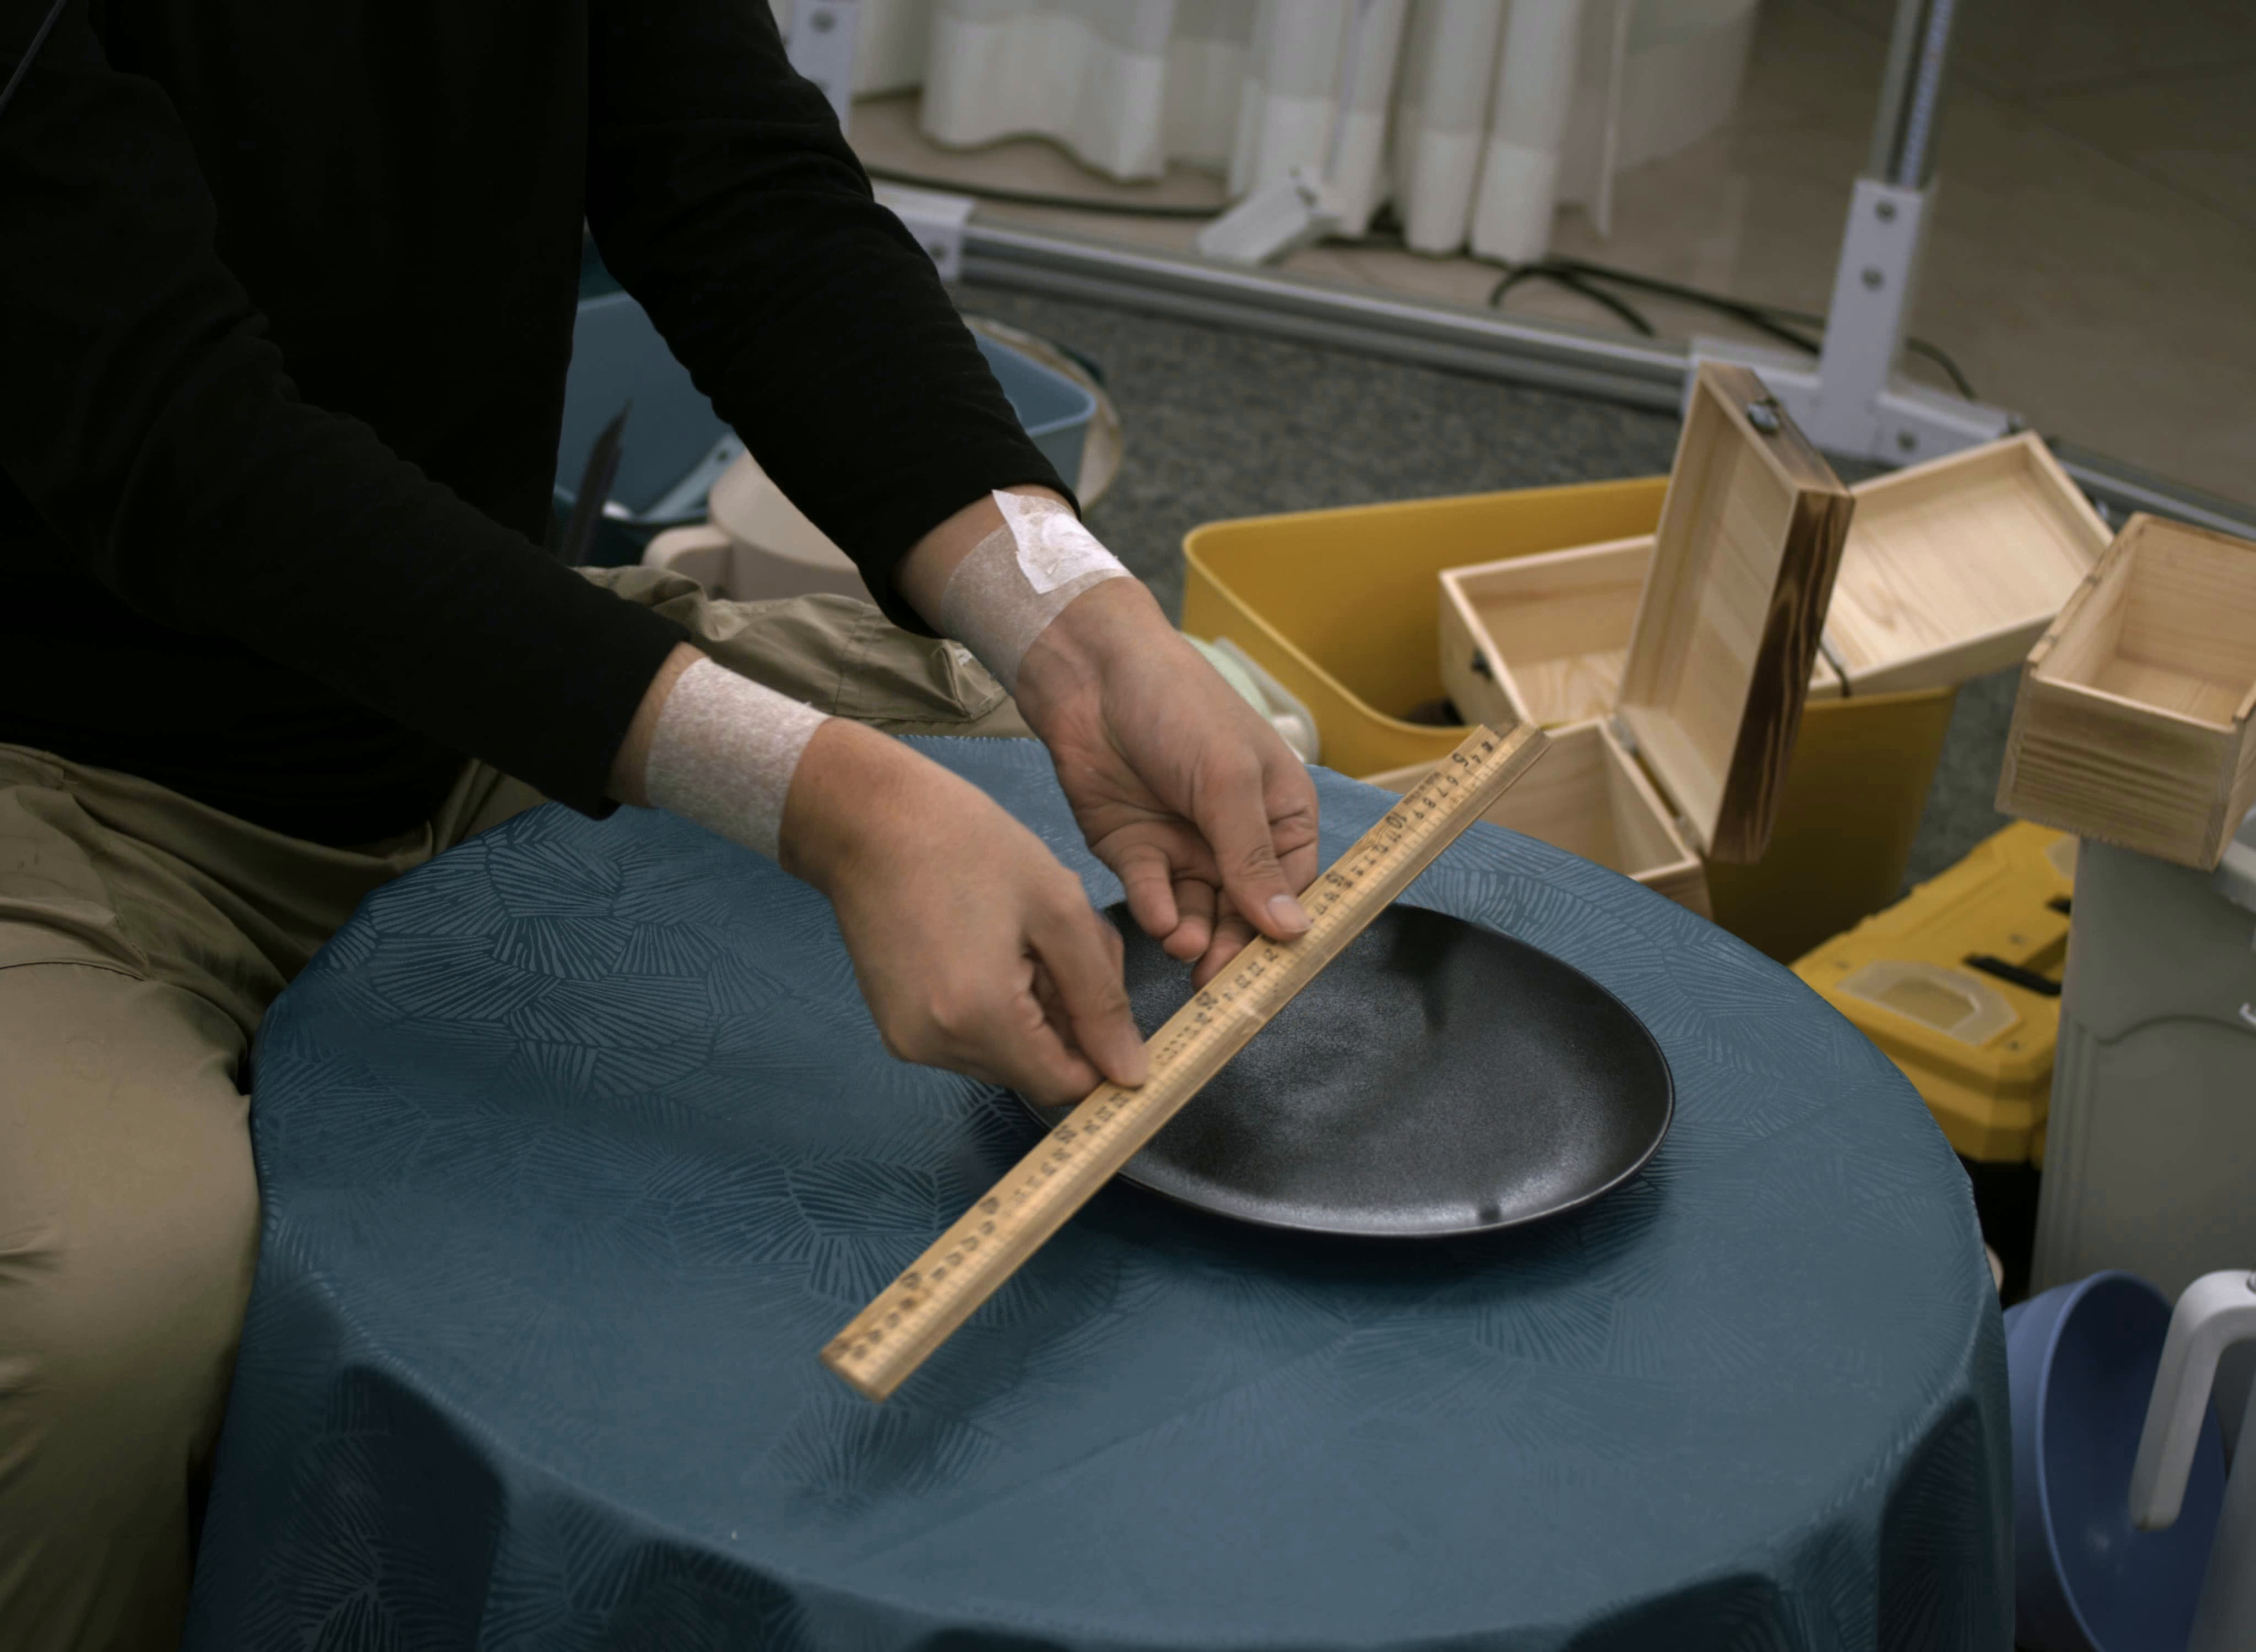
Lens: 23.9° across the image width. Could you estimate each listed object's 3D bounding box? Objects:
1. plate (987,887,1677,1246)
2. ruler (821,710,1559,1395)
[{"bbox_3d":[0.070,0.087,1.863,0.243,0.023,0.246,5,27,-3],"label":"plate"},{"bbox_3d":[0.033,0.064,1.818,0.027,0.006,0.500,34,37,13],"label":"ruler"}]
